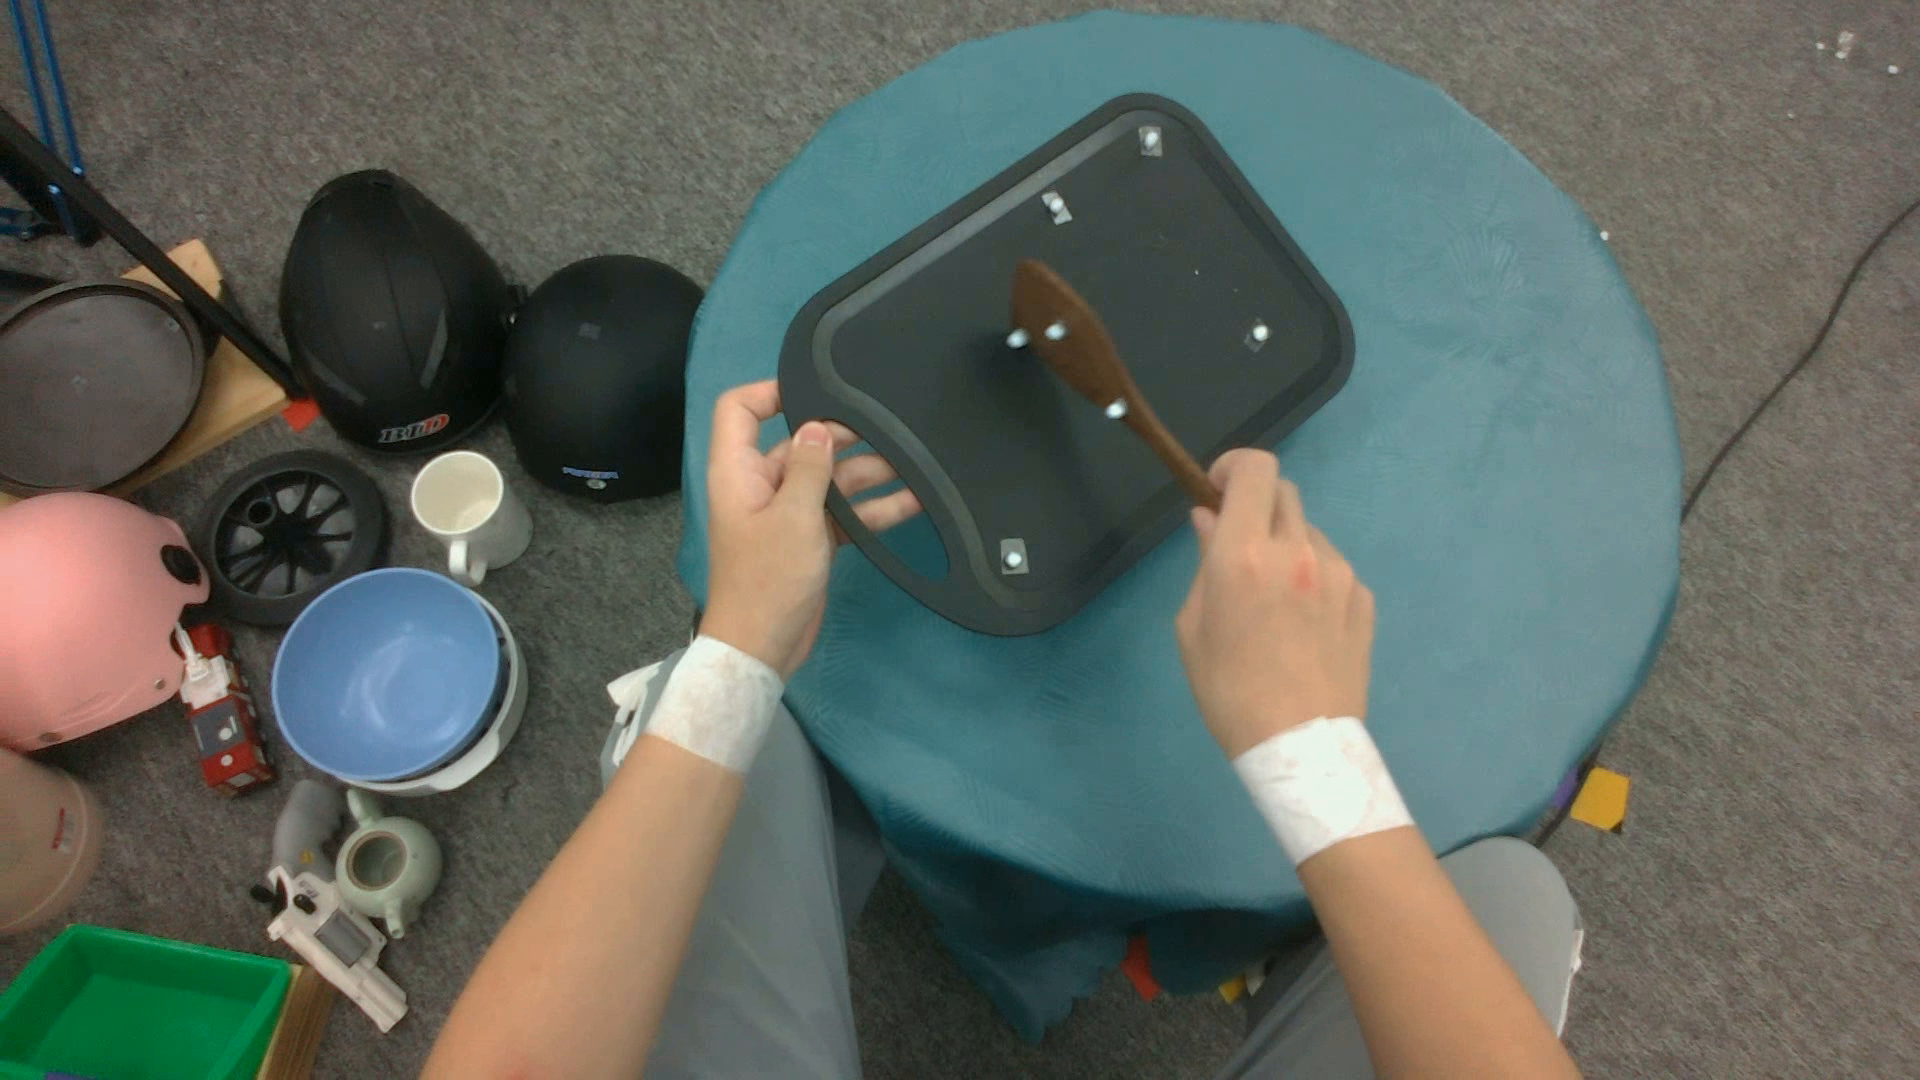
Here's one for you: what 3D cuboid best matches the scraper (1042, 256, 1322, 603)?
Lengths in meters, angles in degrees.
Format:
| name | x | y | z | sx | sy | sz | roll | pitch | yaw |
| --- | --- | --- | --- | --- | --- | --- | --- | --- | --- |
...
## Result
| name | x | y | z | sx | sy | sz | roll | pitch | yaw |
| --- | --- | --- | --- | --- | --- | --- | --- | --- | --- |
| scraper | 0.108 | -0.053 | 0.685 | 0.011 | 0.075 | 0.211 | -34 | 74 | -13 |

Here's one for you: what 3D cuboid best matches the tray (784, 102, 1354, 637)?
| name | x | y | z | sx | sy | sz | roll | pitch | yaw |
| --- | --- | --- | --- | --- | --- | --- | --- | --- | --- |
| tray | 0.065 | -0.097 | 0.745 | 0.326 | 0.010 | 0.211 | -37 | 89 | -22 |
